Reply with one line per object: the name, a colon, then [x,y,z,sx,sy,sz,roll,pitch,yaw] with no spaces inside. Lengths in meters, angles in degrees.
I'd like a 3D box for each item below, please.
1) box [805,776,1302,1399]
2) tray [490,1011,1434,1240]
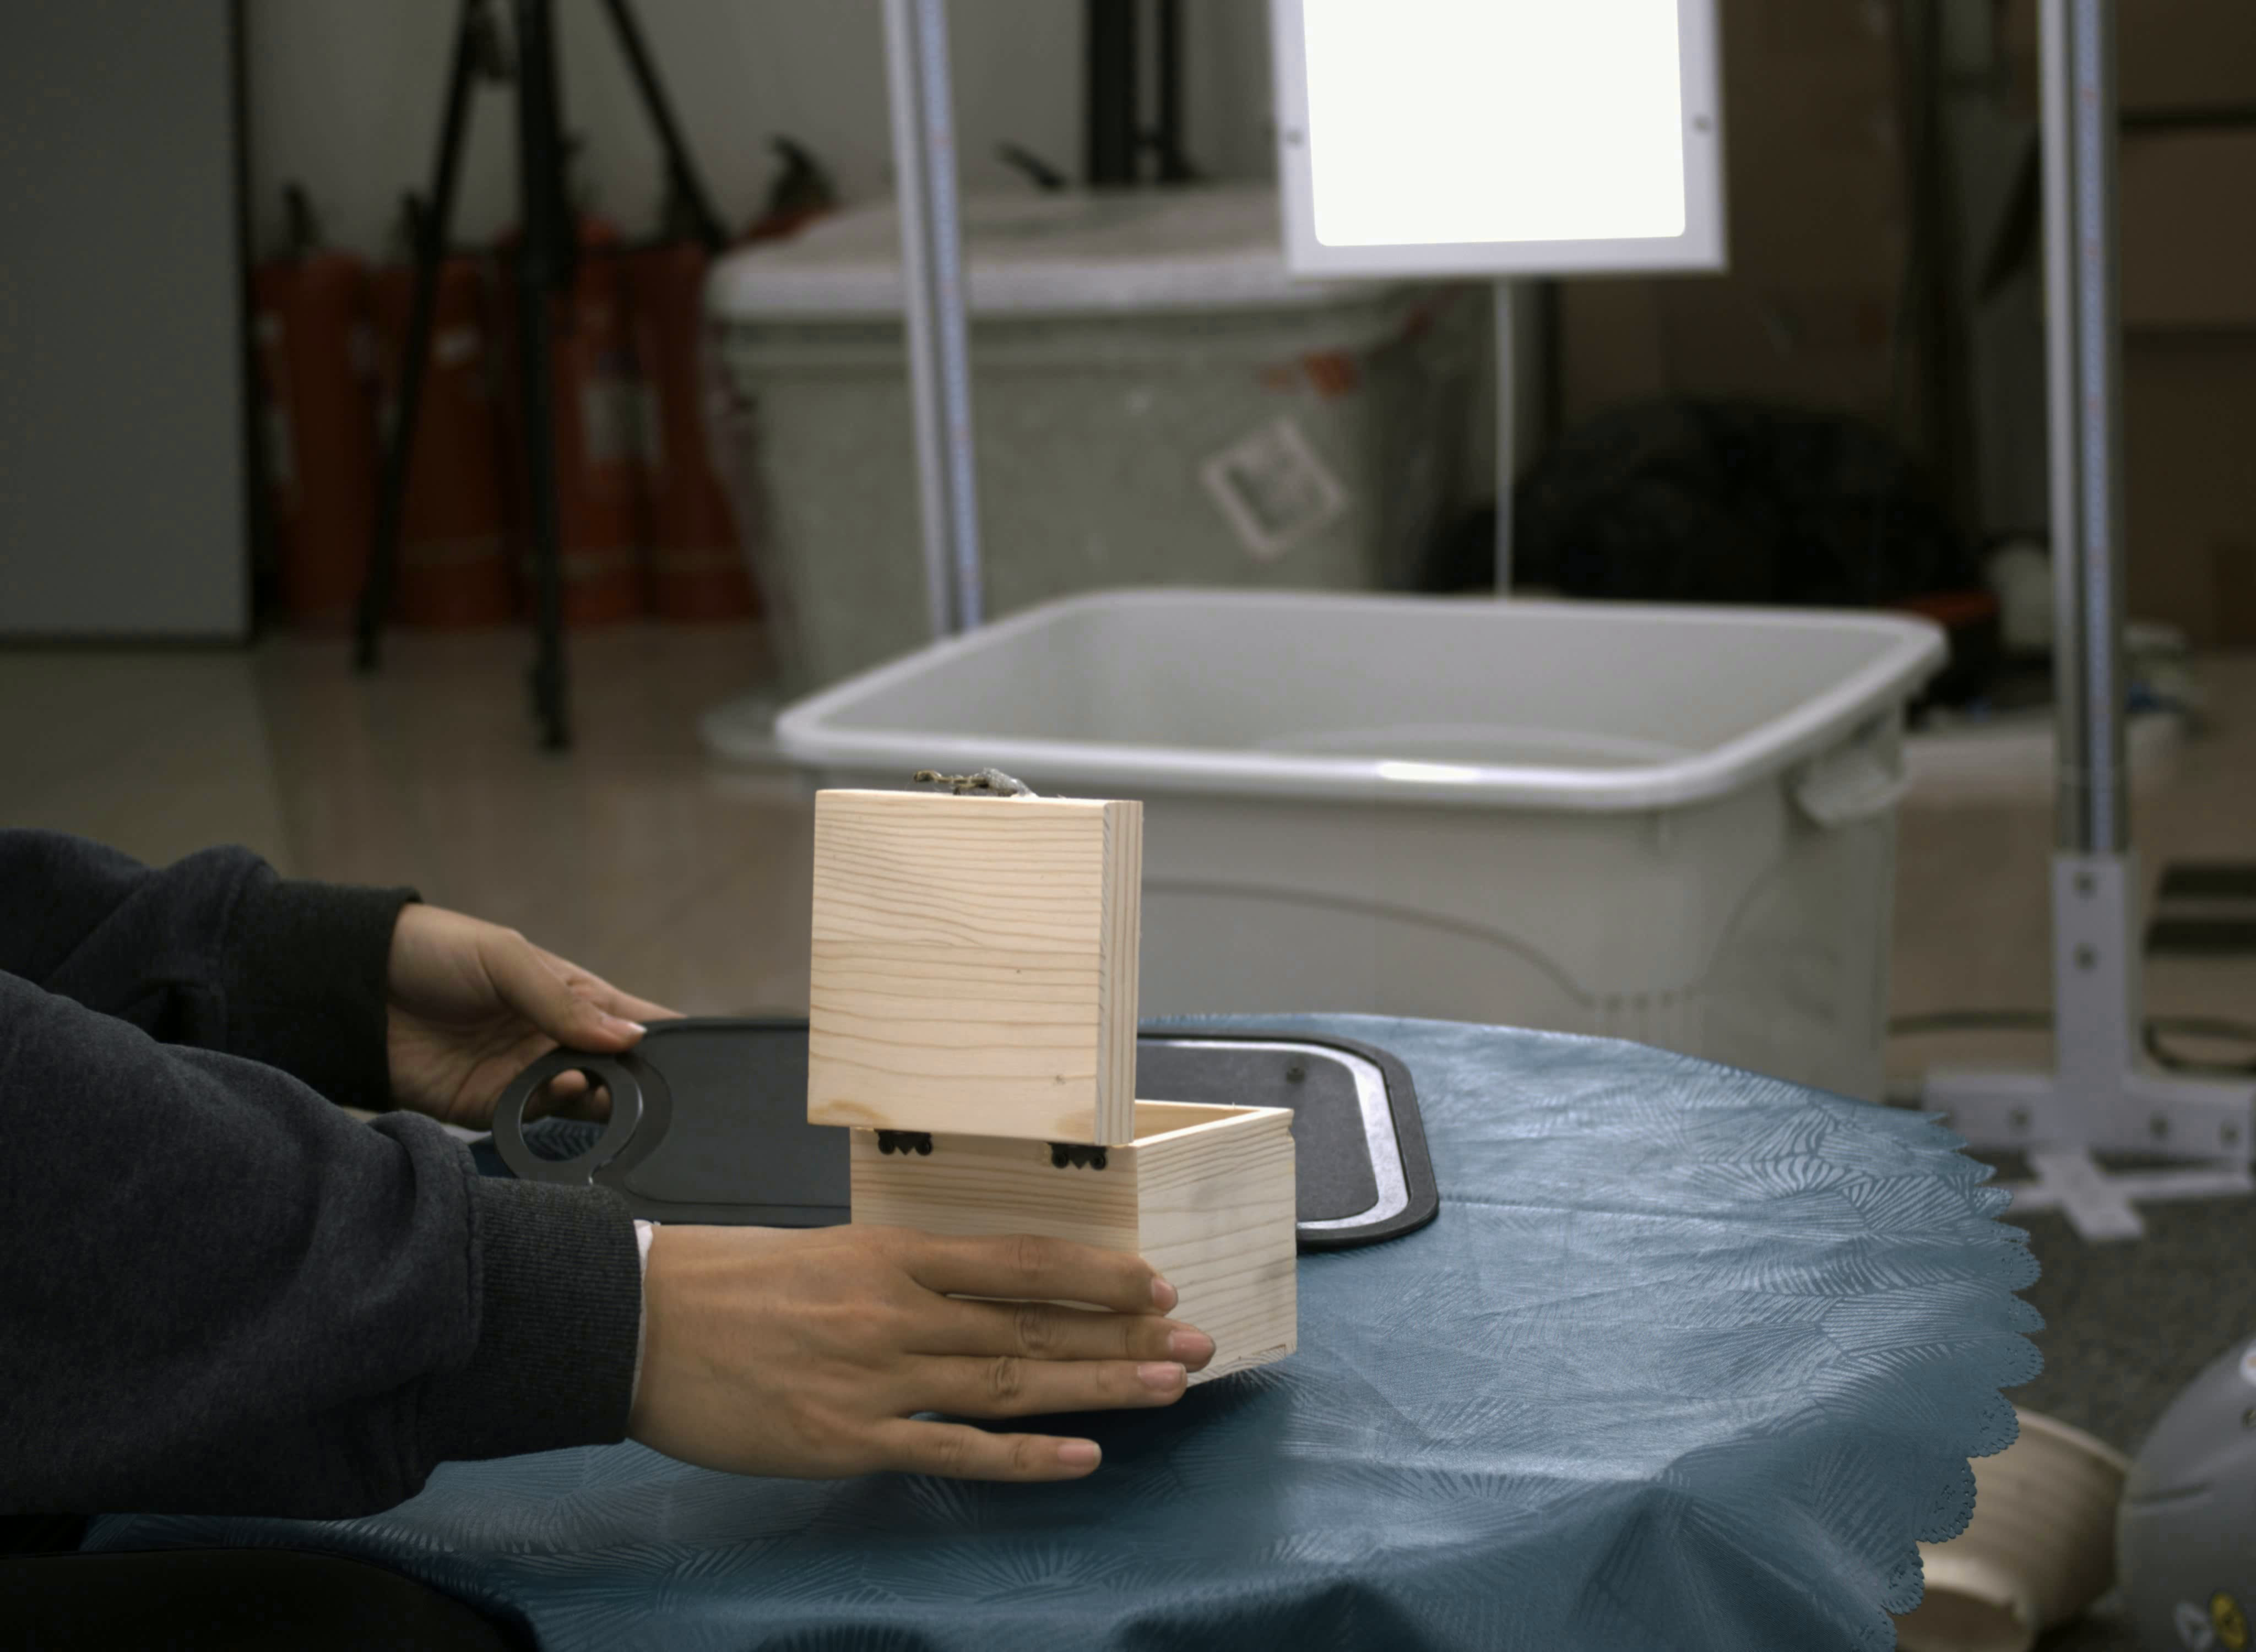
box: [-0.020,0.074,1.671,0.104,0.185,0.131,1,6,30]
tray: [-0.059,0.101,1.911,0.324,0.010,0.210,2,17,0]
